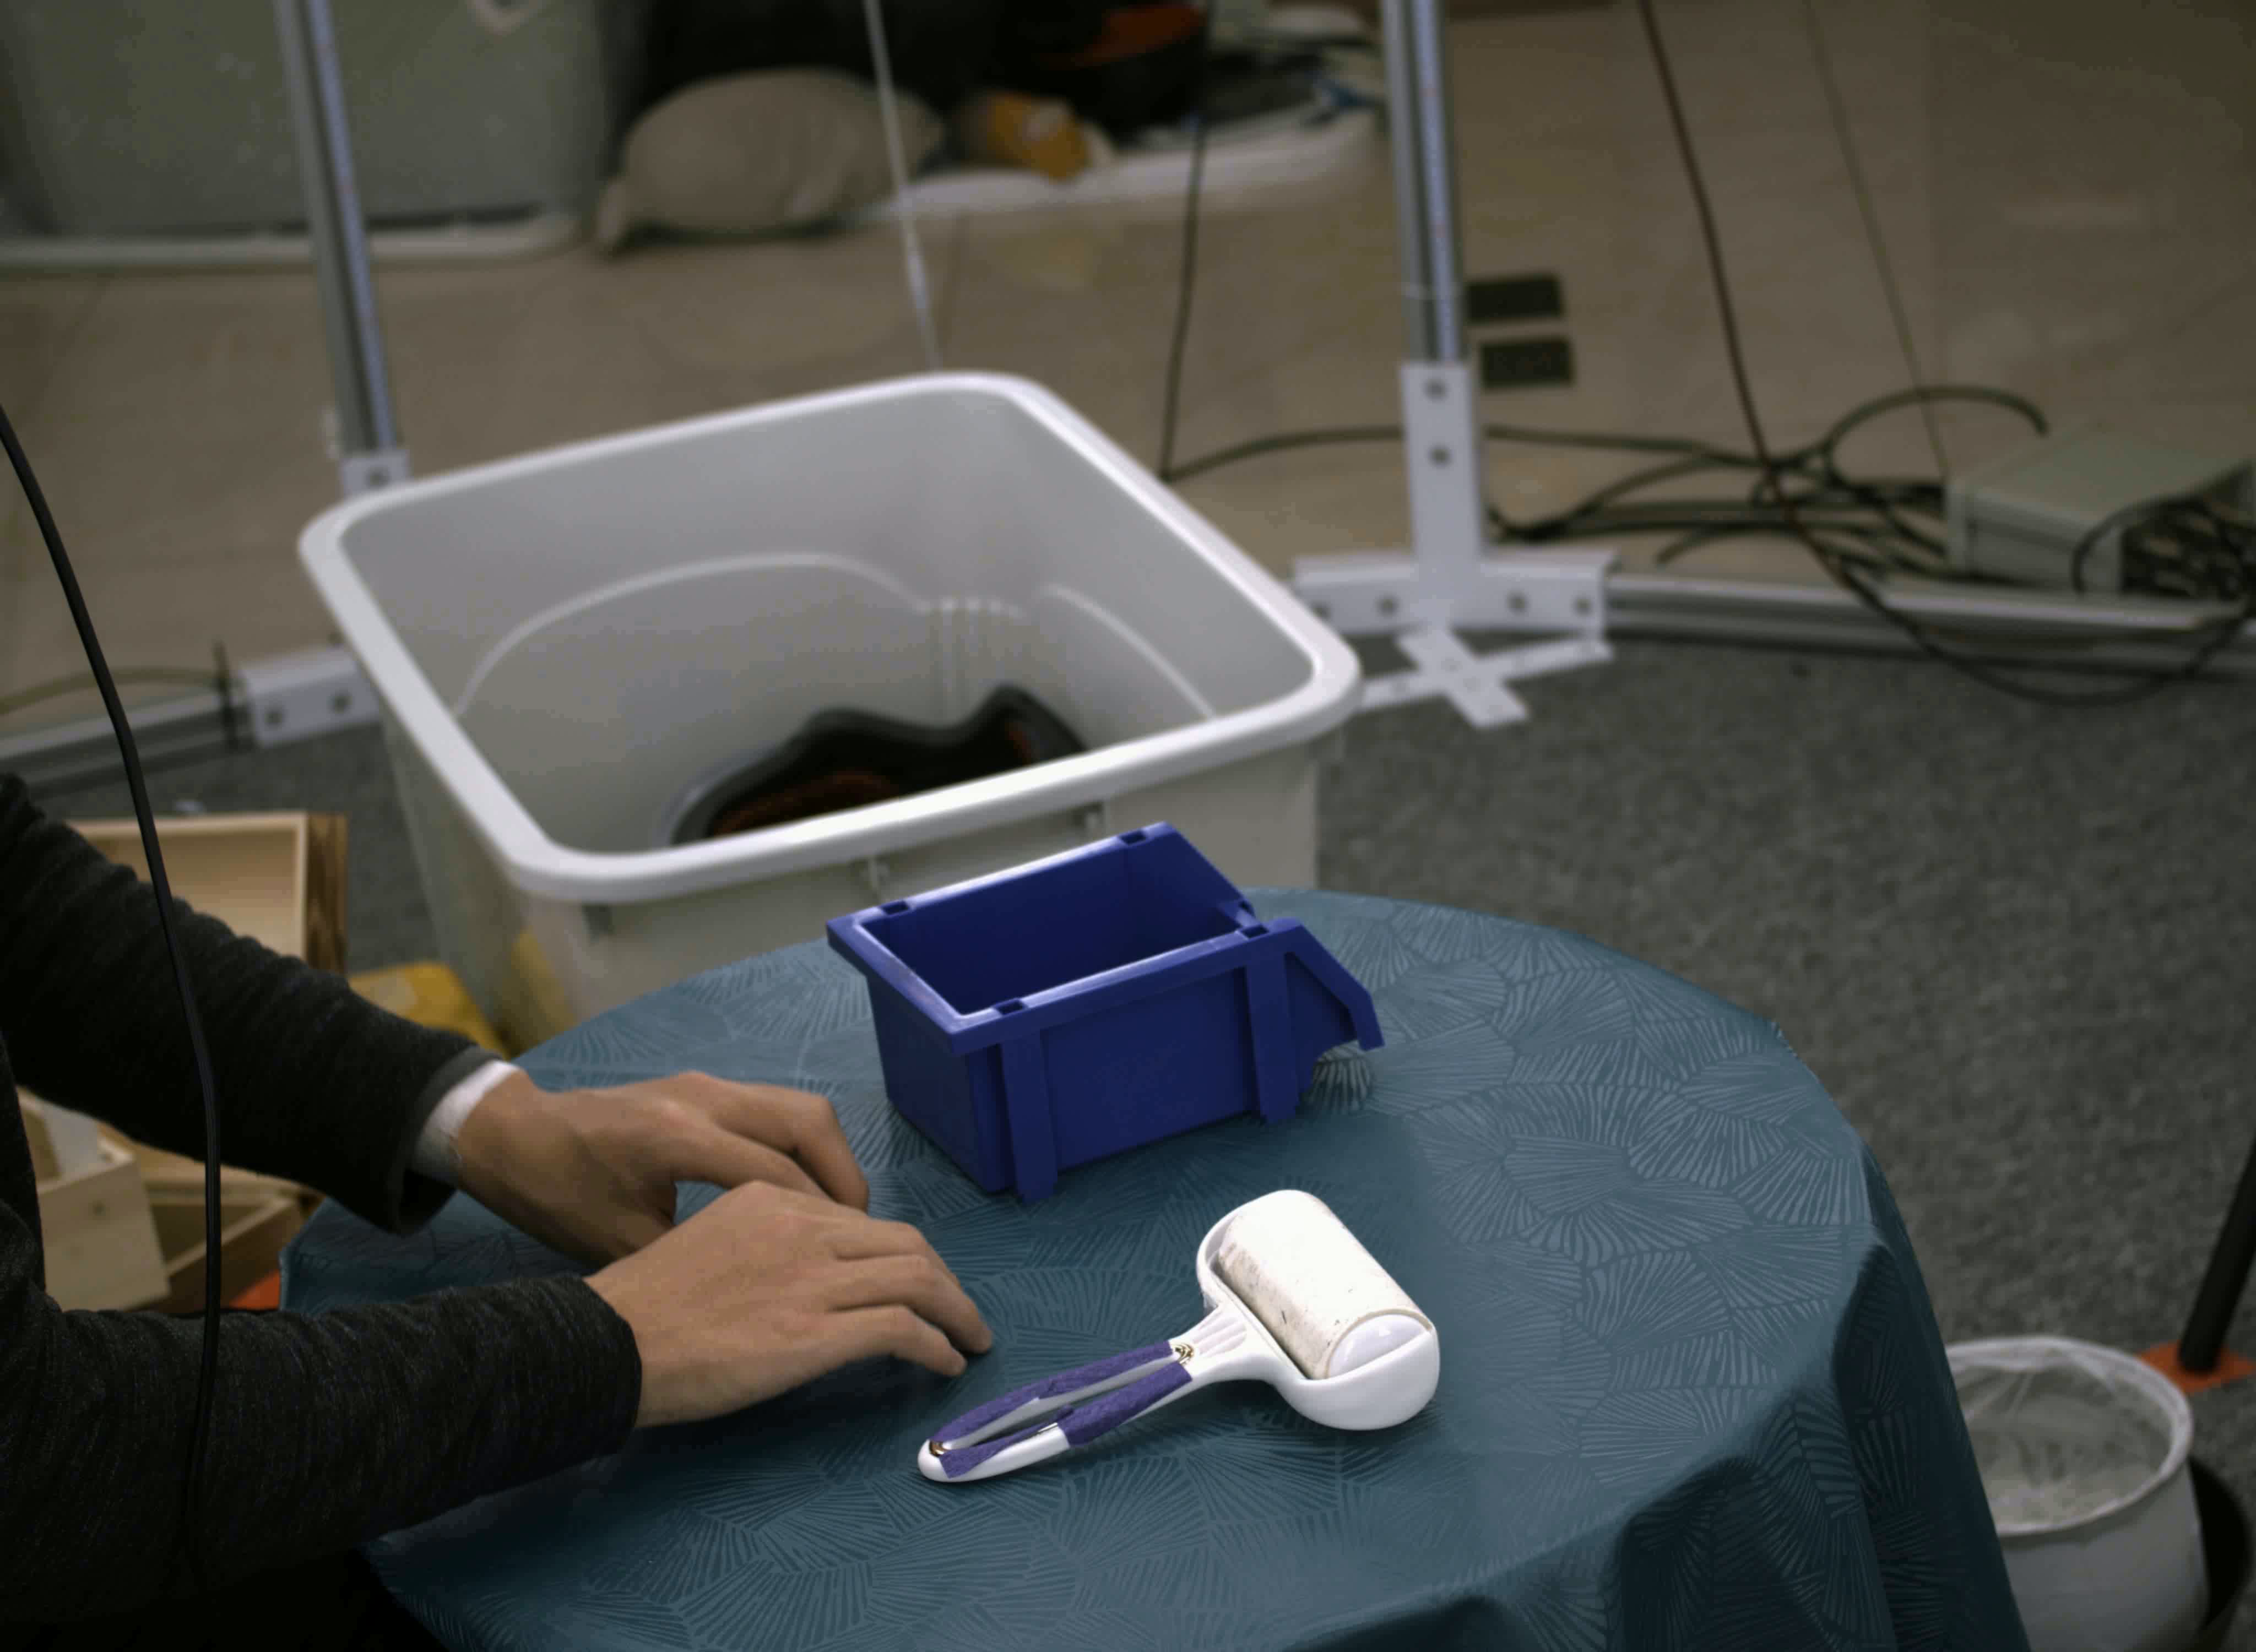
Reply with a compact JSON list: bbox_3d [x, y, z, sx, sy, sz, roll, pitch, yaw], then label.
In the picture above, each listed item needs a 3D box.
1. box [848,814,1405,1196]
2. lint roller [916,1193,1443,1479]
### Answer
[{"bbox_3d":[-0.001,0.066,2.208,0.178,0.083,0.123,-19,27,-18],"label":"box"},{"bbox_3d":[0.009,0.184,1.991,0.180,0.051,0.131,-11,27,-15],"label":"lint roller"}]
